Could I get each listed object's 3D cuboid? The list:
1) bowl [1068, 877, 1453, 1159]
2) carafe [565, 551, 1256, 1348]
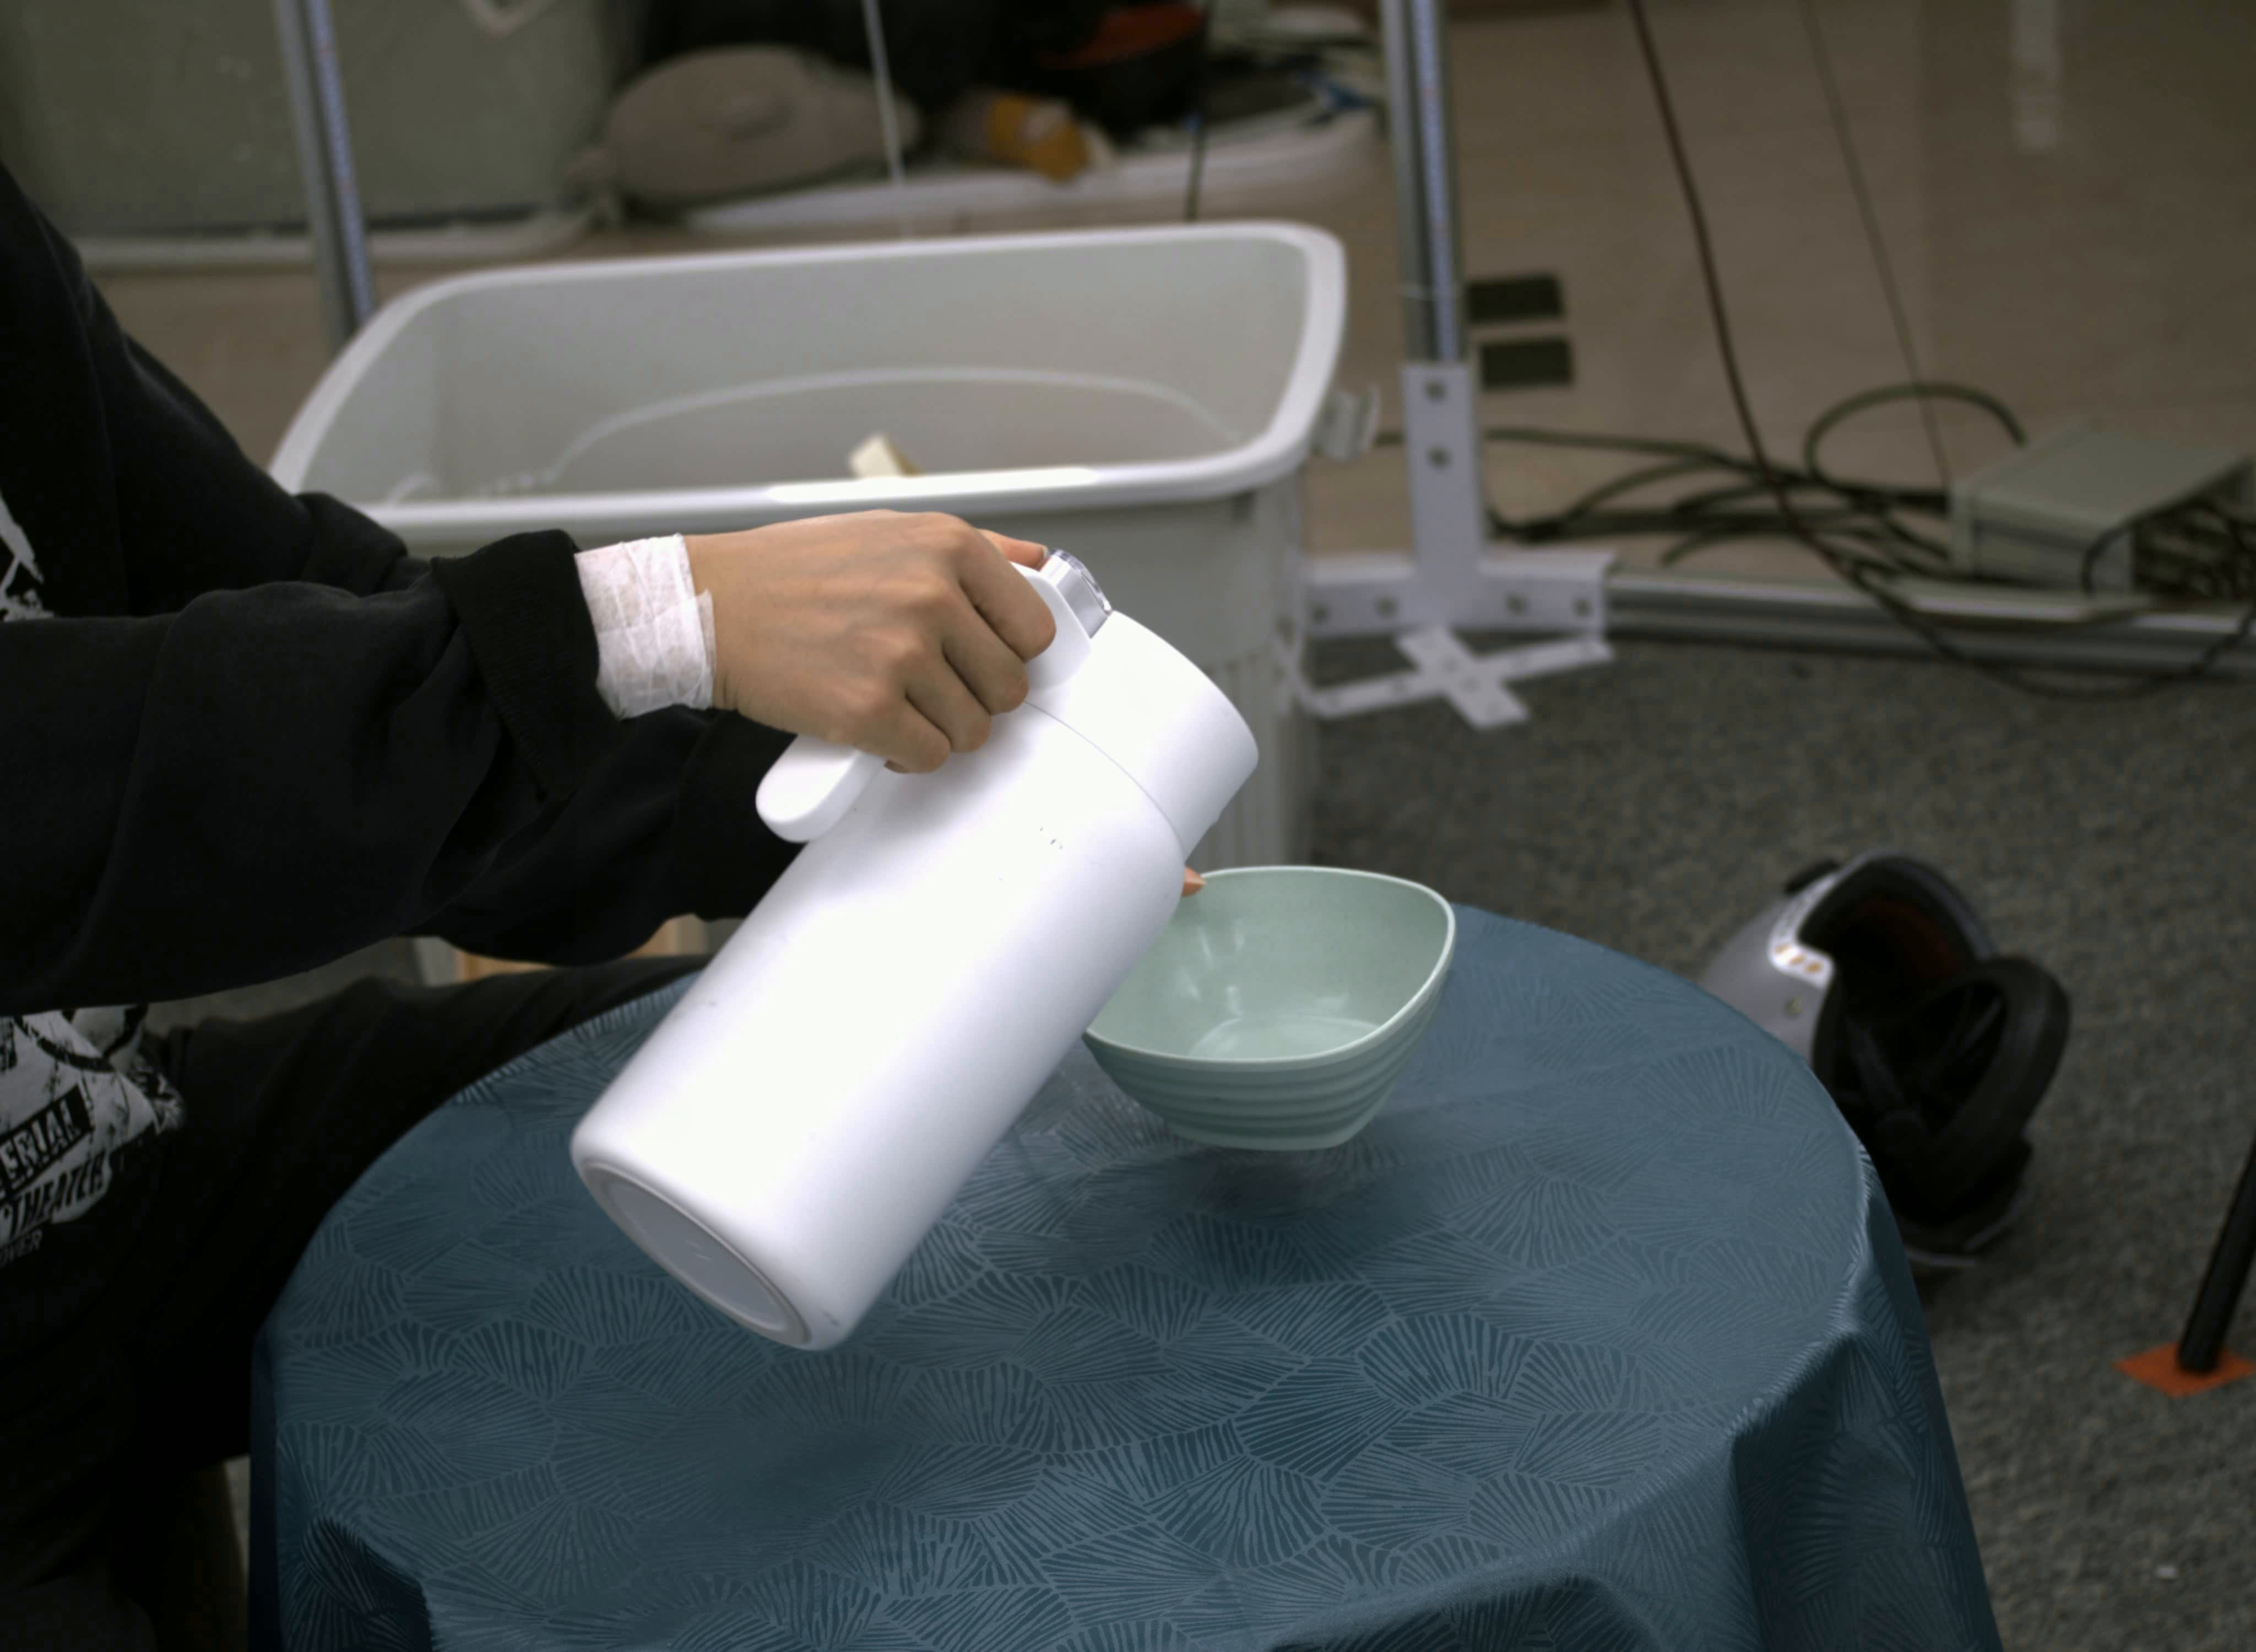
[{"bbox_3d":[0.053,0.078,2.132,0.151,0.059,0.149,-8,29,4],"label":"bowl"},{"bbox_3d":[-0.078,0.037,1.964,0.122,0.176,0.267,26,68,40],"label":"carafe"}]
